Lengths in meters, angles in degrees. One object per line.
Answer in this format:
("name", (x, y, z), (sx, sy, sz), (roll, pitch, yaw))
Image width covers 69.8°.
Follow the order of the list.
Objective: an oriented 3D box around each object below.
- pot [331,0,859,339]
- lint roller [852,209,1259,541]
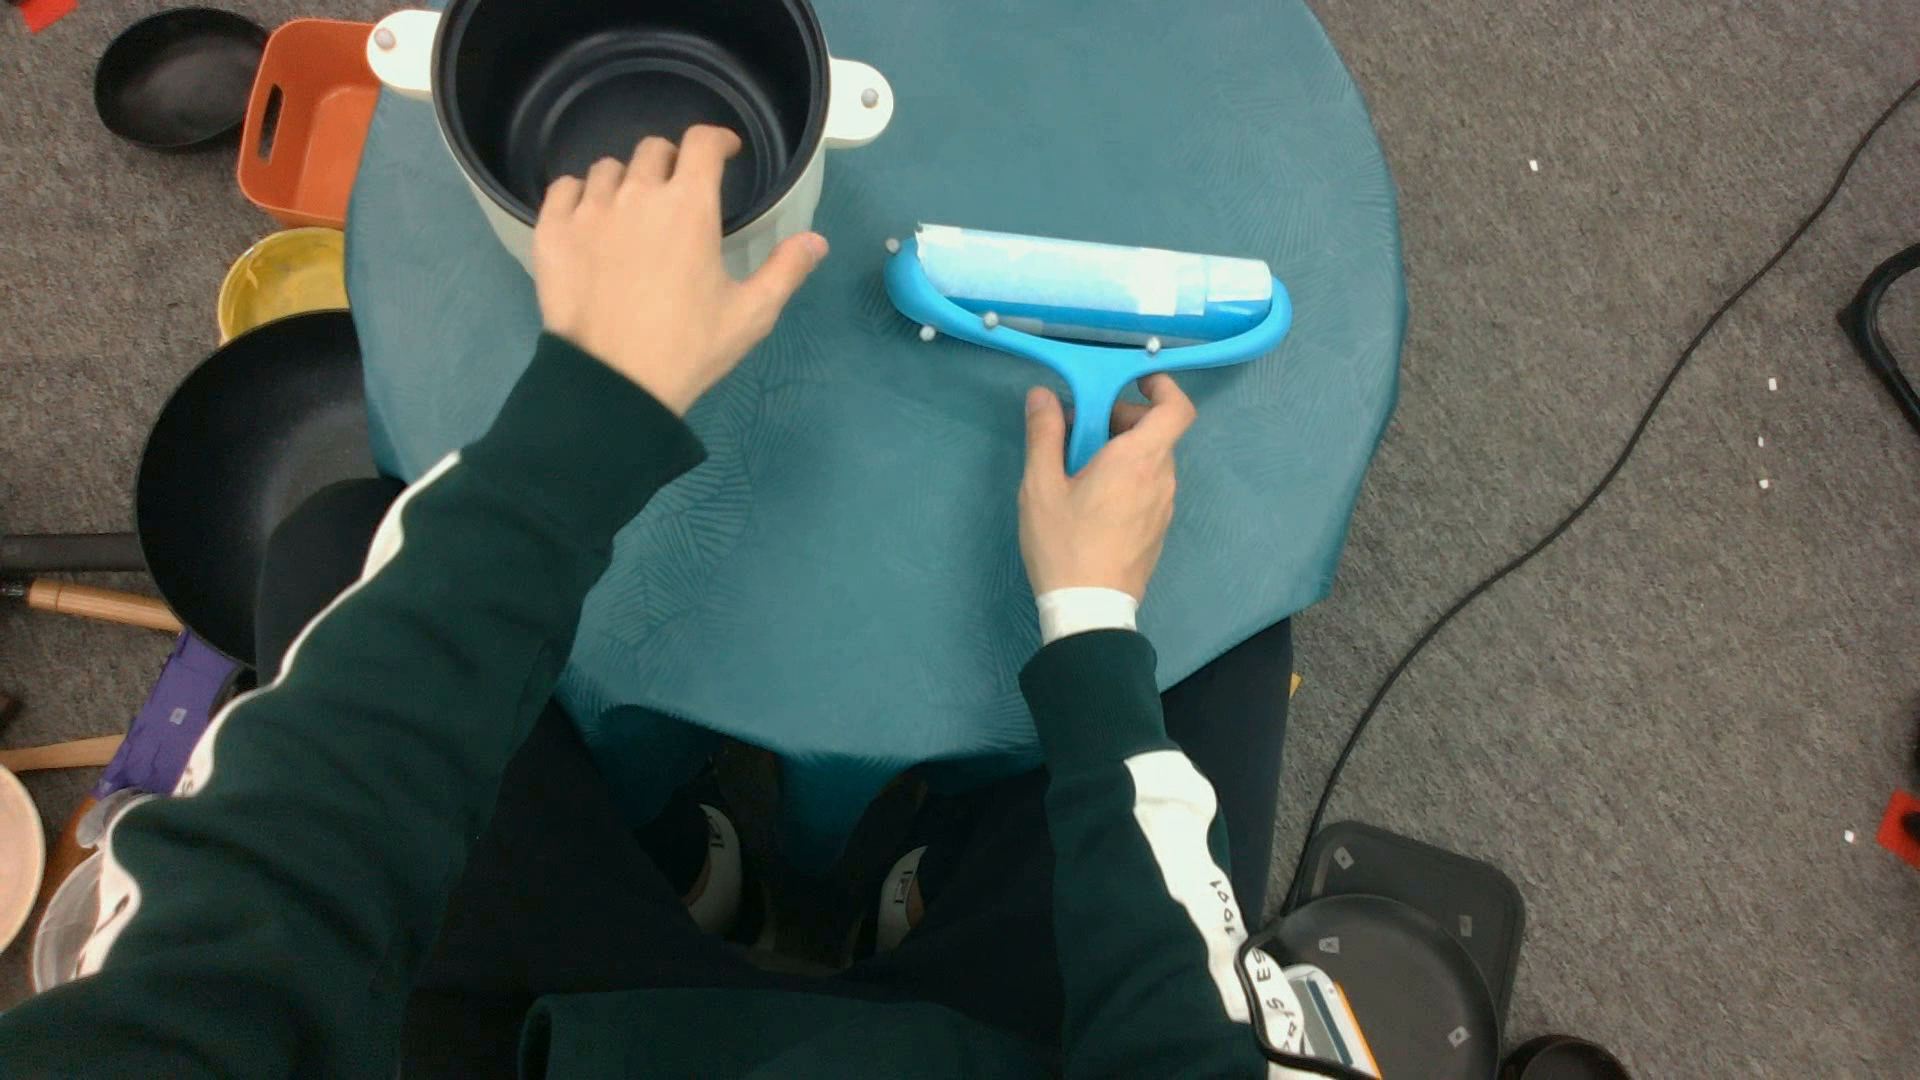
("pot", (-0.177, -0.212, 0.703), (0.240, 0.142, 0.191), (2, 80, -9))
("lint roller", (0.057, -0.094, 0.752), (0.229, 0.067, 0.180), (0, 75, -11))
